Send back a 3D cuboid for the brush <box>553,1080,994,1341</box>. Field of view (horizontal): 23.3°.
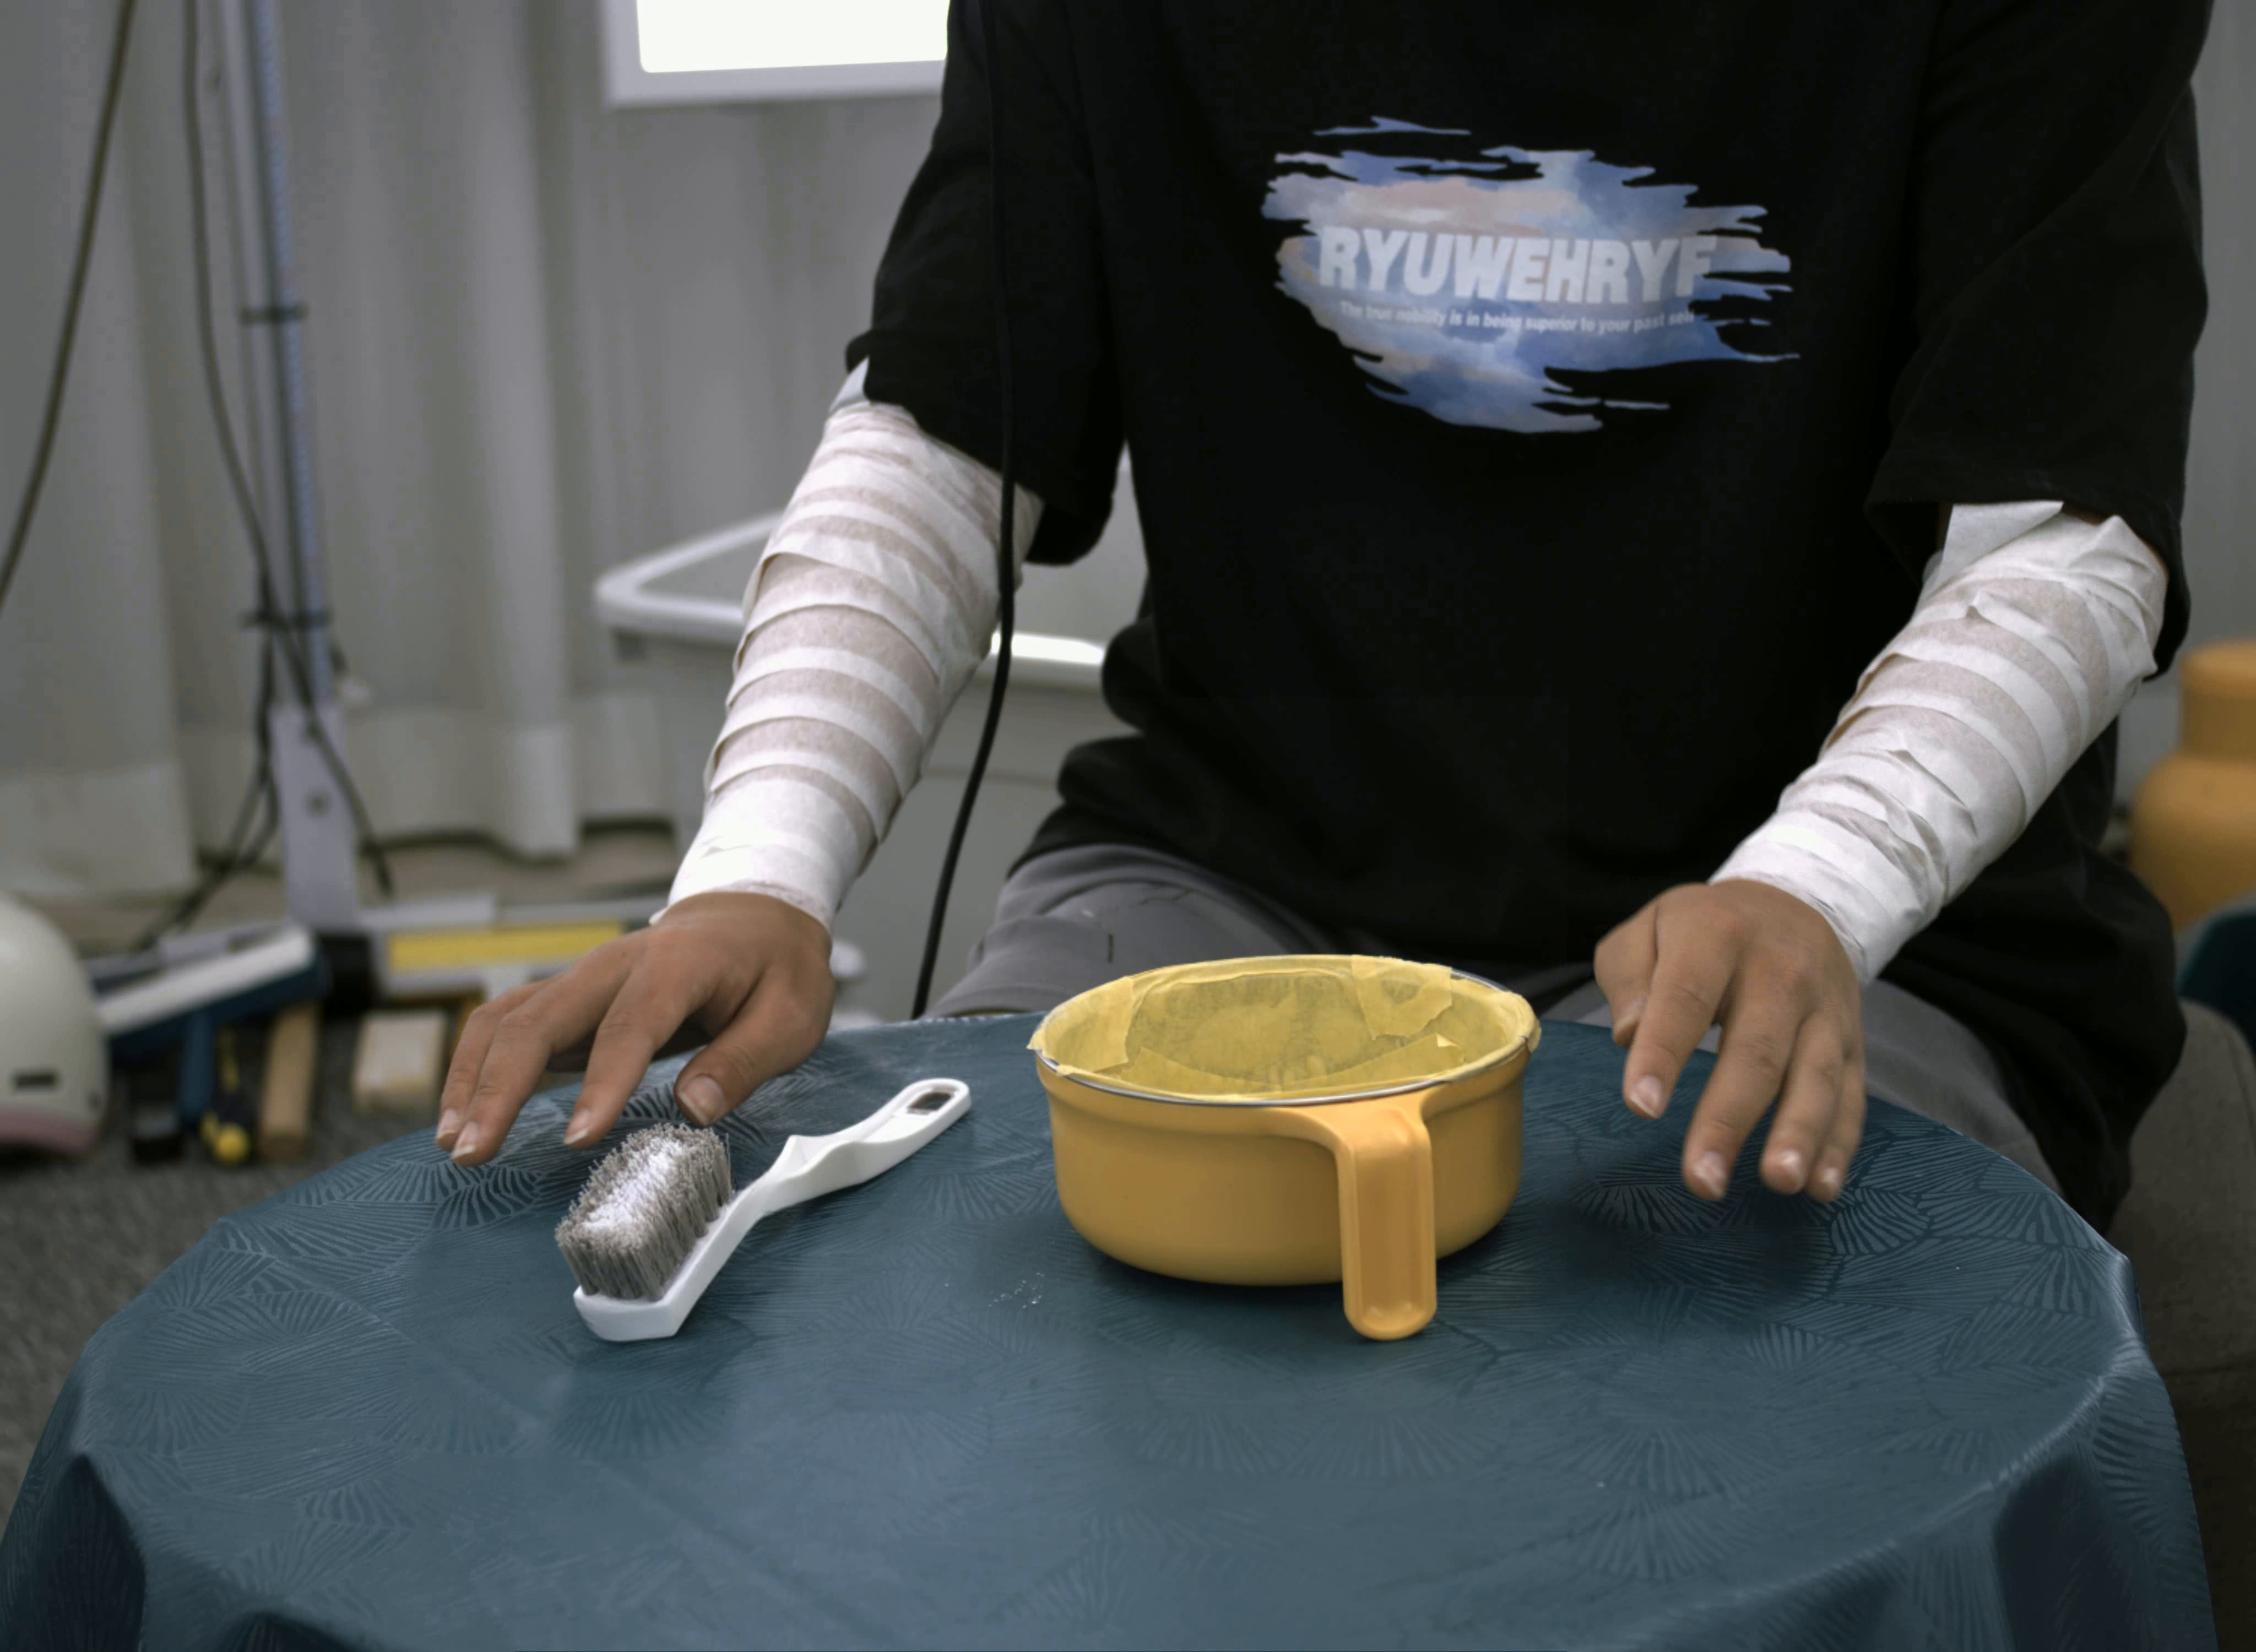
[{"bbox_3d":[-0.104,0.099,1.694,0.034,0.050,0.244,2,16,26],"label":"brush"}]

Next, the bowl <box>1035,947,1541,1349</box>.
[{"bbox_3d":[0.051,0.094,1.647,0.152,0.074,0.181,-2,15,-18],"label":"bowl"}]
